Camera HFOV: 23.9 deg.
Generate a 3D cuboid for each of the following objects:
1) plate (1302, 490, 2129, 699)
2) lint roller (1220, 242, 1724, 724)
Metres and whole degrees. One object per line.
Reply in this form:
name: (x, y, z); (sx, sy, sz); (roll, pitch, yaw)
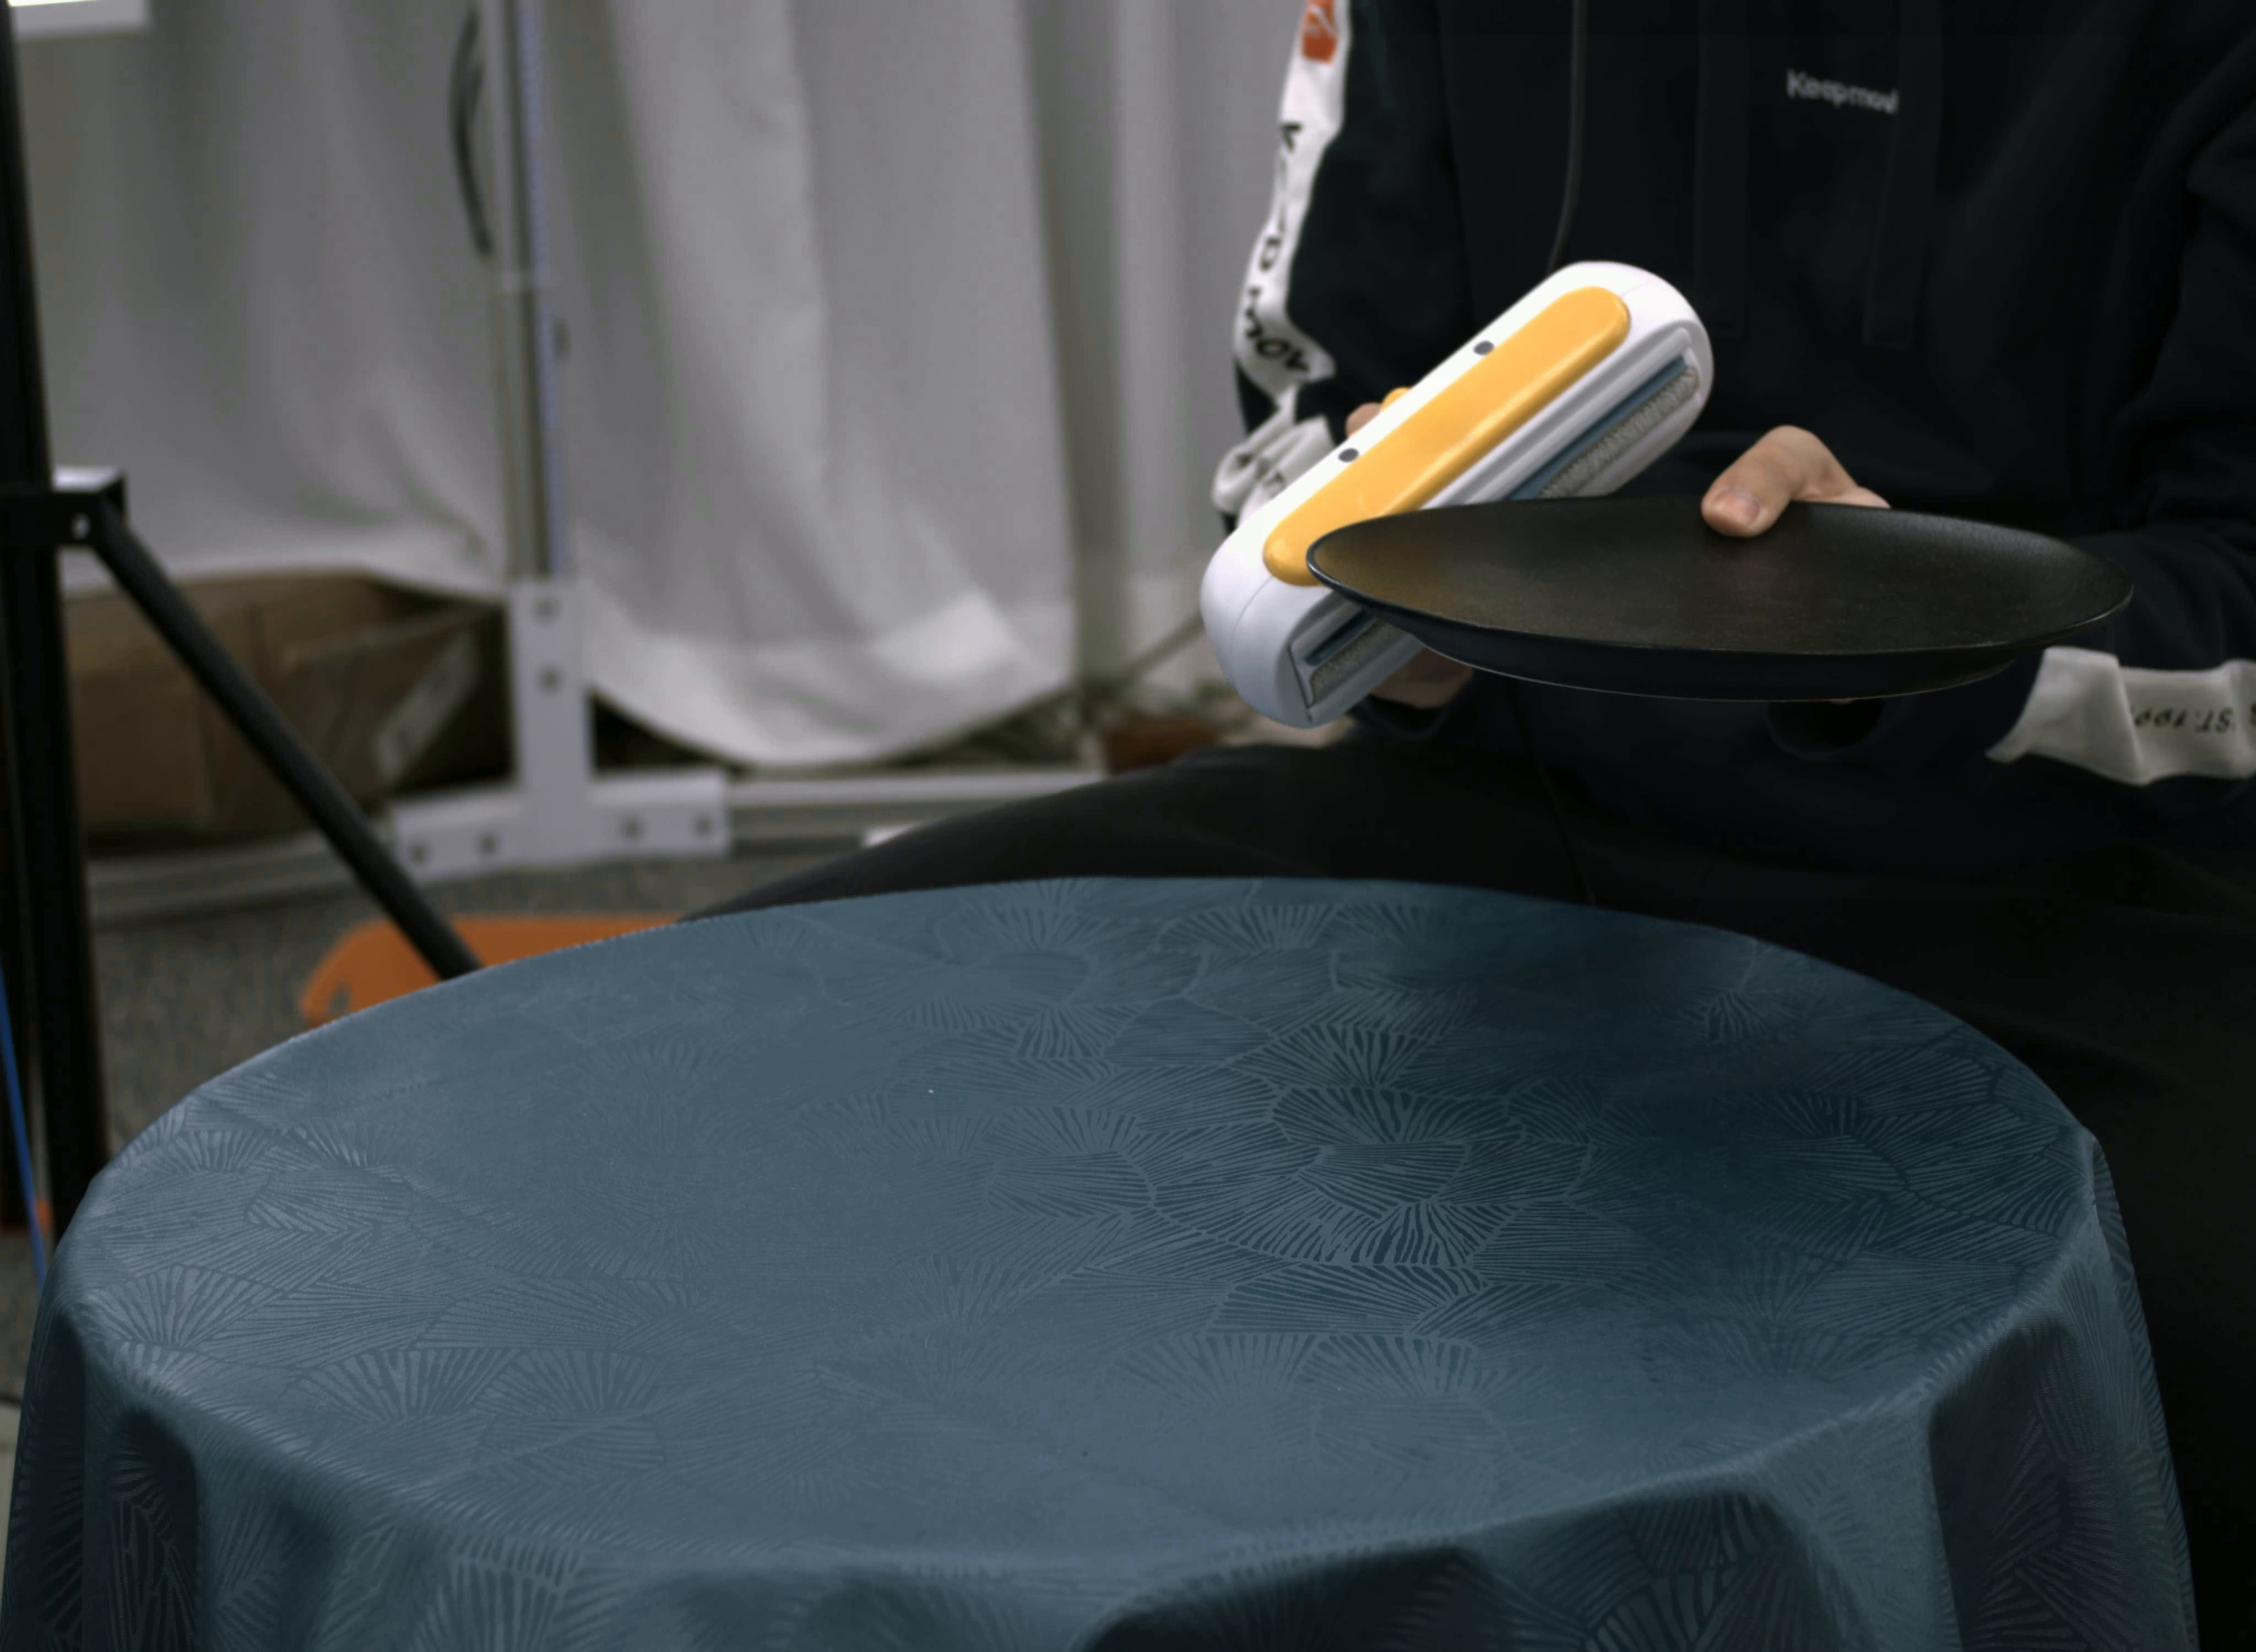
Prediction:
plate: (0.172, -0.066, 1.563); (0.243, 0.023, 0.245); (1, 14, -2)
lint roller: (0.109, -0.085, 1.751); (0.191, 0.190, 0.075); (-41, 64, -18)
